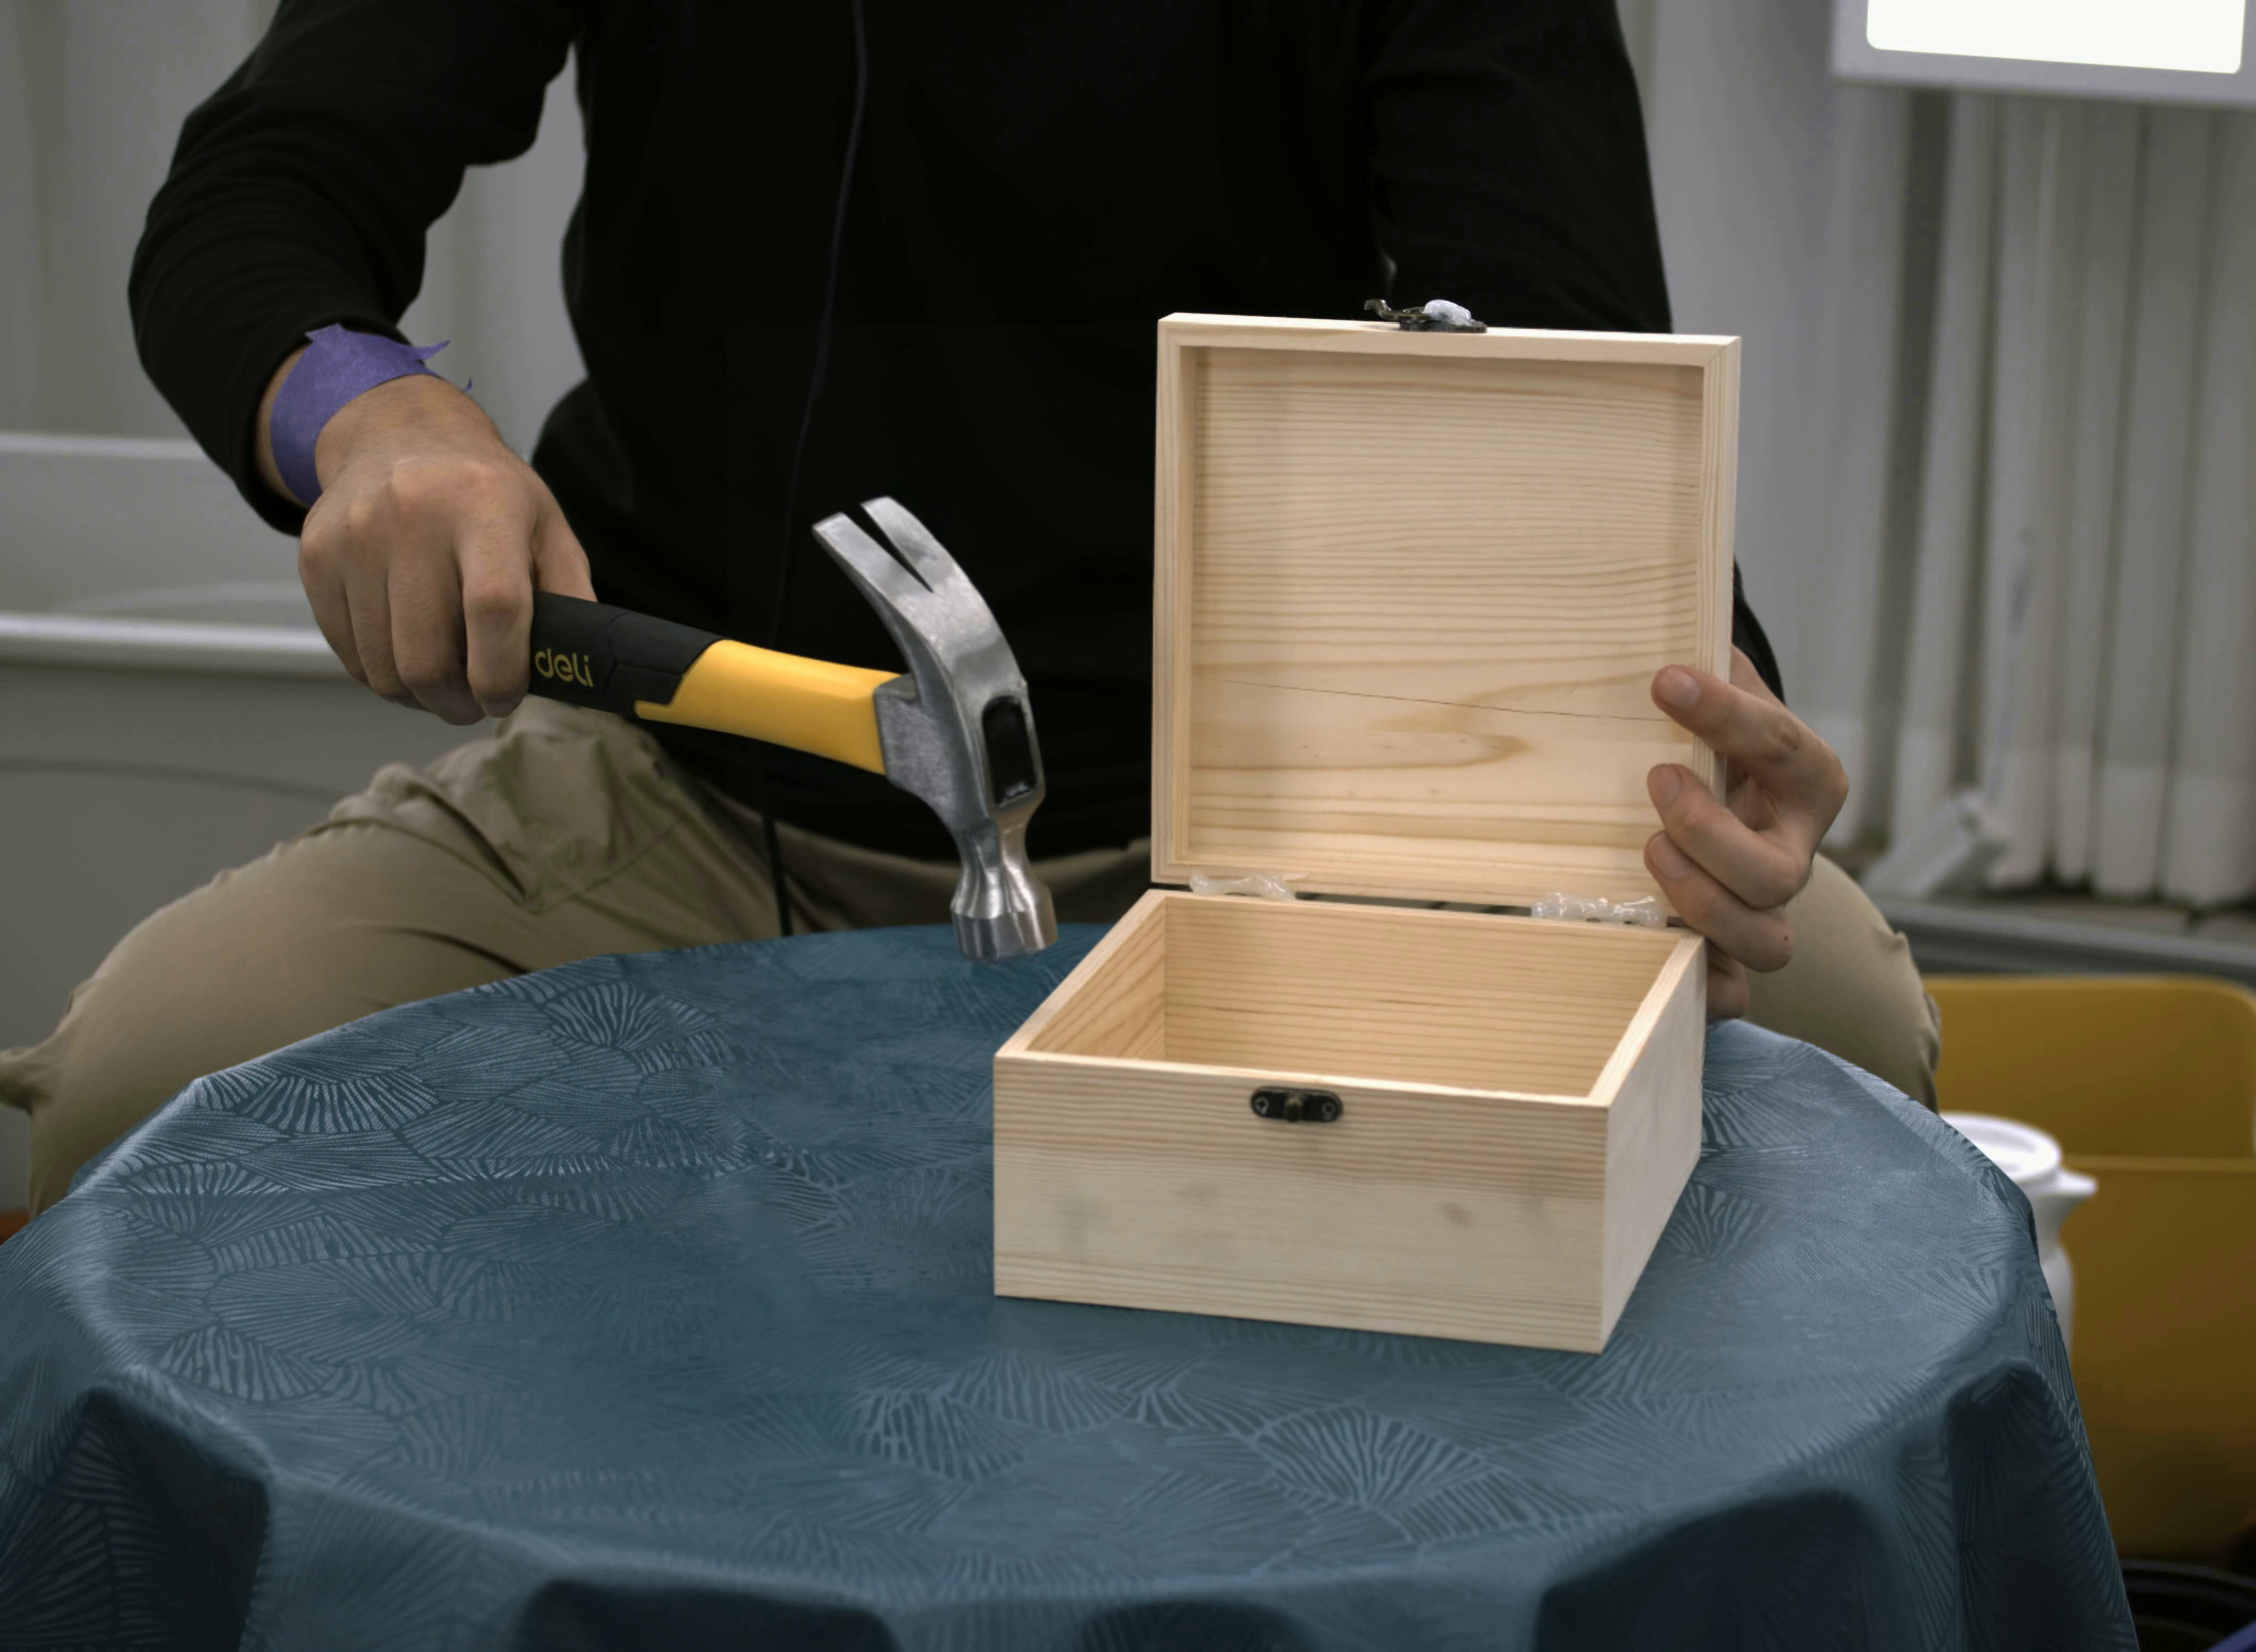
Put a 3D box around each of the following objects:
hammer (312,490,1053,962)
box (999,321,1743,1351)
[{"bbox_3d":[-0.147,-0.049,1.630,0.032,0.133,0.334,-24,24,-38],"label":"hammer"},{"bbox_3d":[0.079,-0.008,1.591,0.180,0.255,0.265,2,16,14],"label":"box"}]
